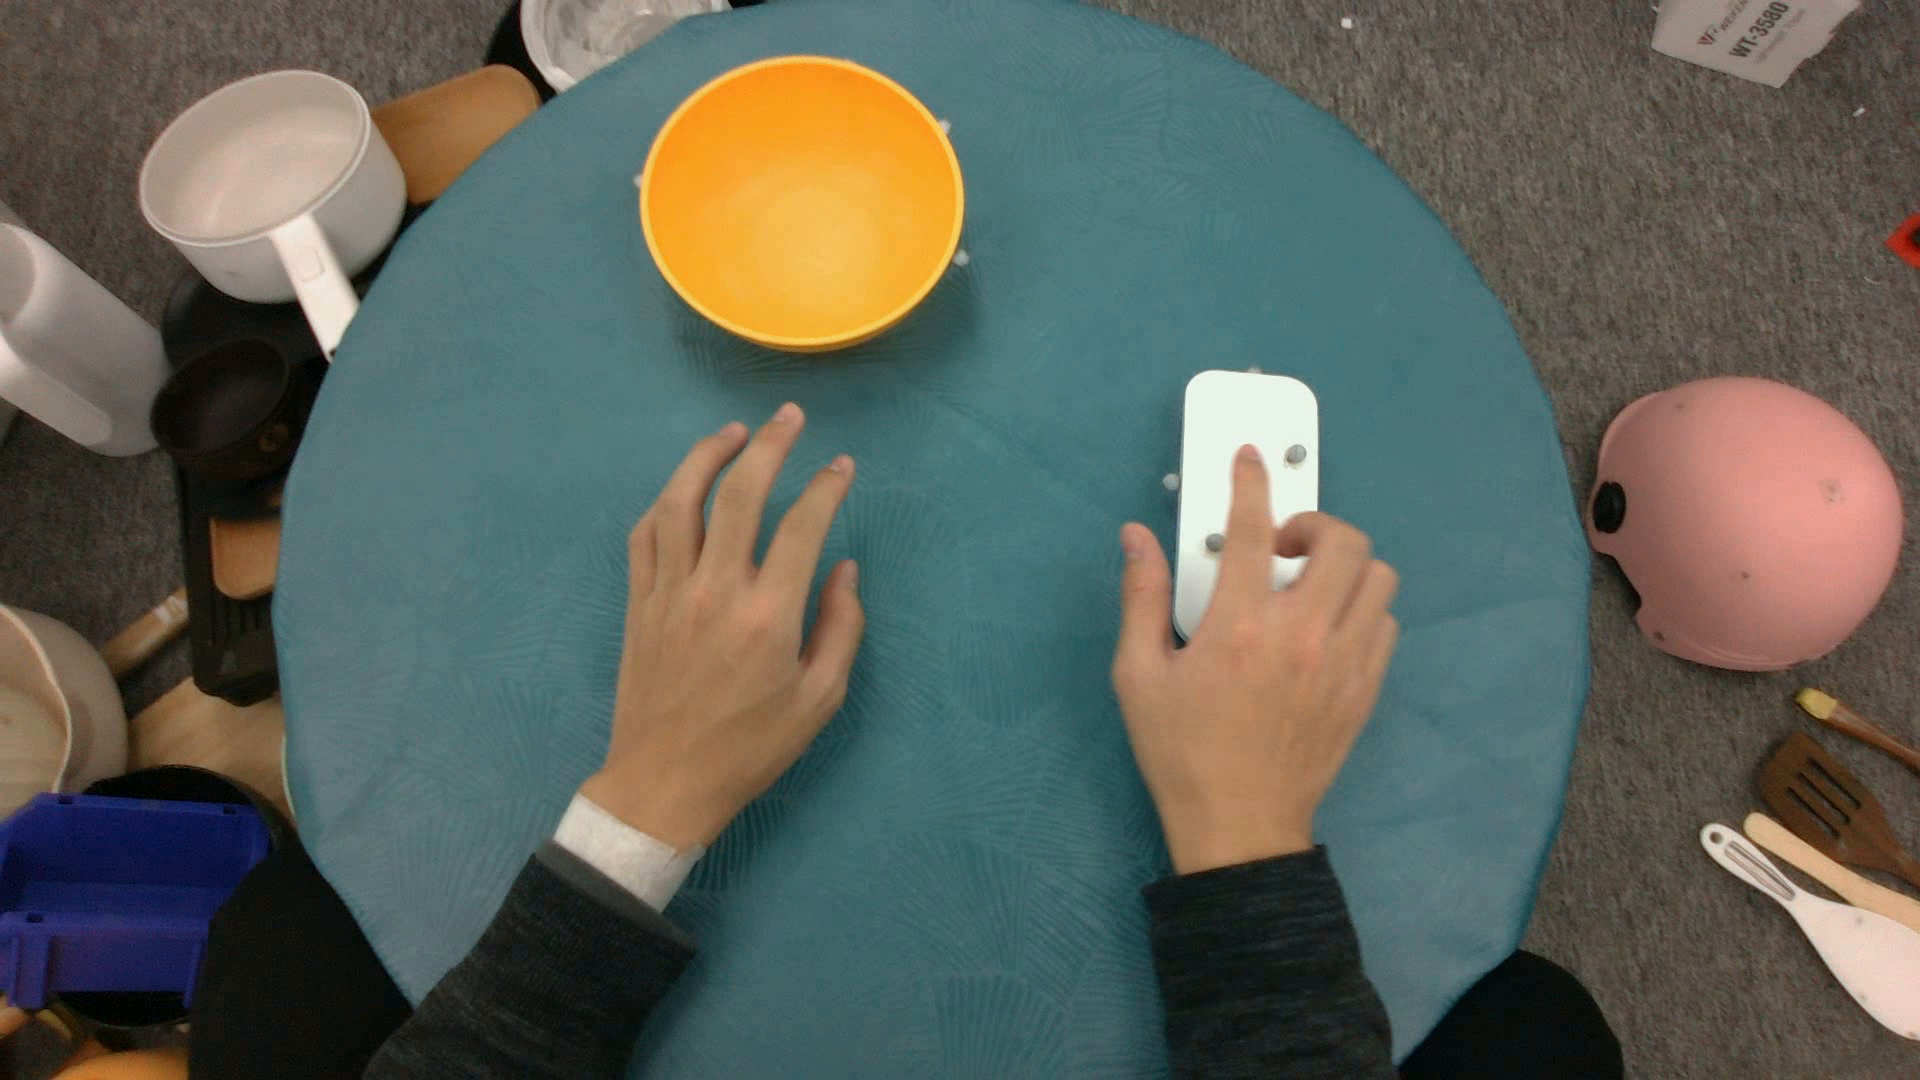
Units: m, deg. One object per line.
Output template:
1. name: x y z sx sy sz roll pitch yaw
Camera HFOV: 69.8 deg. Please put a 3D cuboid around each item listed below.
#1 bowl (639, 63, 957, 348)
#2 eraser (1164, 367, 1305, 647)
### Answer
1. bowl: -0.073 -0.148 0.652 0.145 0.060 0.145 0 73 1
2. eraser: 0.124 -0.016 0.630 0.063 0.034 0.131 6 72 1
